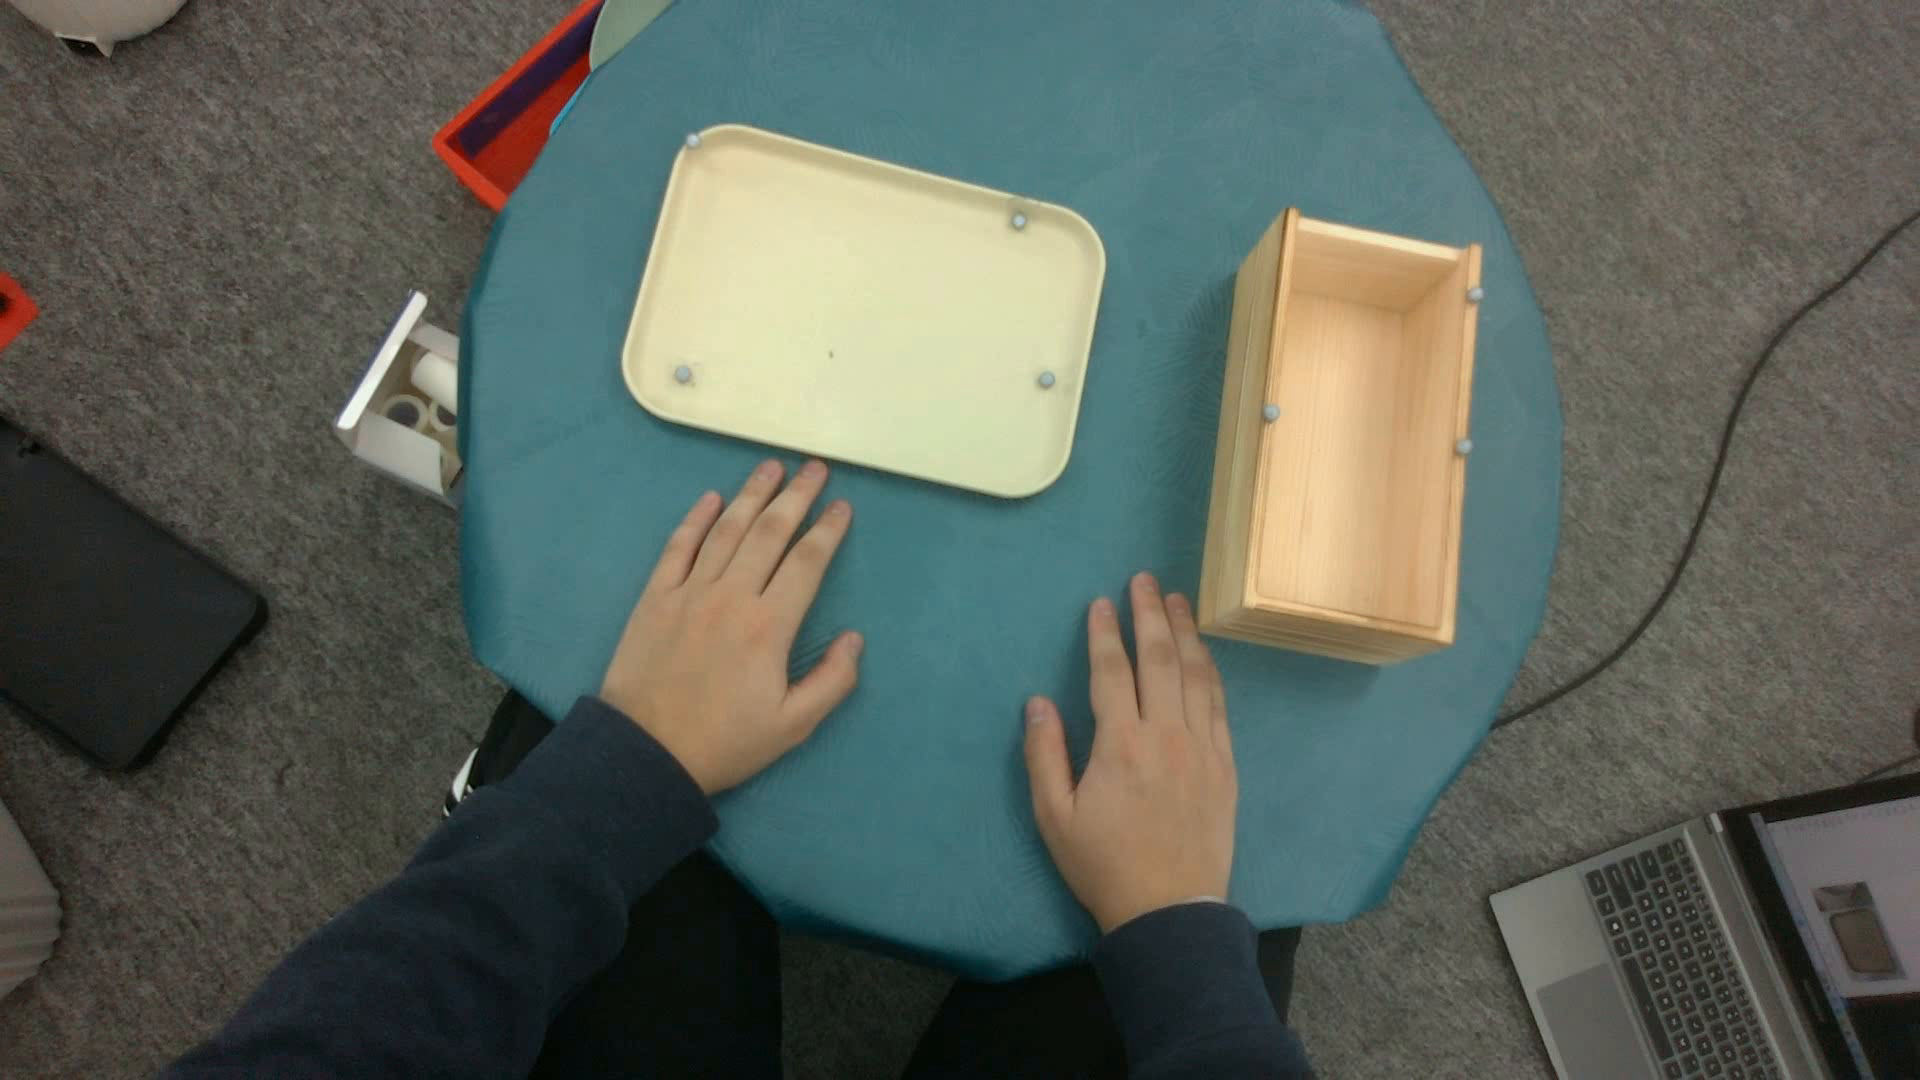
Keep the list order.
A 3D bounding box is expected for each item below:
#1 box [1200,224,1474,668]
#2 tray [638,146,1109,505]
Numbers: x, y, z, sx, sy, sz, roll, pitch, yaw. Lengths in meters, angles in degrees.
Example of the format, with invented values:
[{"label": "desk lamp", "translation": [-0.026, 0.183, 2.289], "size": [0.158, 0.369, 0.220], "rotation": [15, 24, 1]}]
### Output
[{"label": "box", "translation": [0.200, -0.048, 0.734], "size": [0.107, 0.080, 0.212], "rotation": [10, 75, -4]}, {"label": "tray", "translation": [-0.044, -0.117, 0.754], "size": [0.240, 0.017, 0.171], "rotation": [13, 75, -4]}]
